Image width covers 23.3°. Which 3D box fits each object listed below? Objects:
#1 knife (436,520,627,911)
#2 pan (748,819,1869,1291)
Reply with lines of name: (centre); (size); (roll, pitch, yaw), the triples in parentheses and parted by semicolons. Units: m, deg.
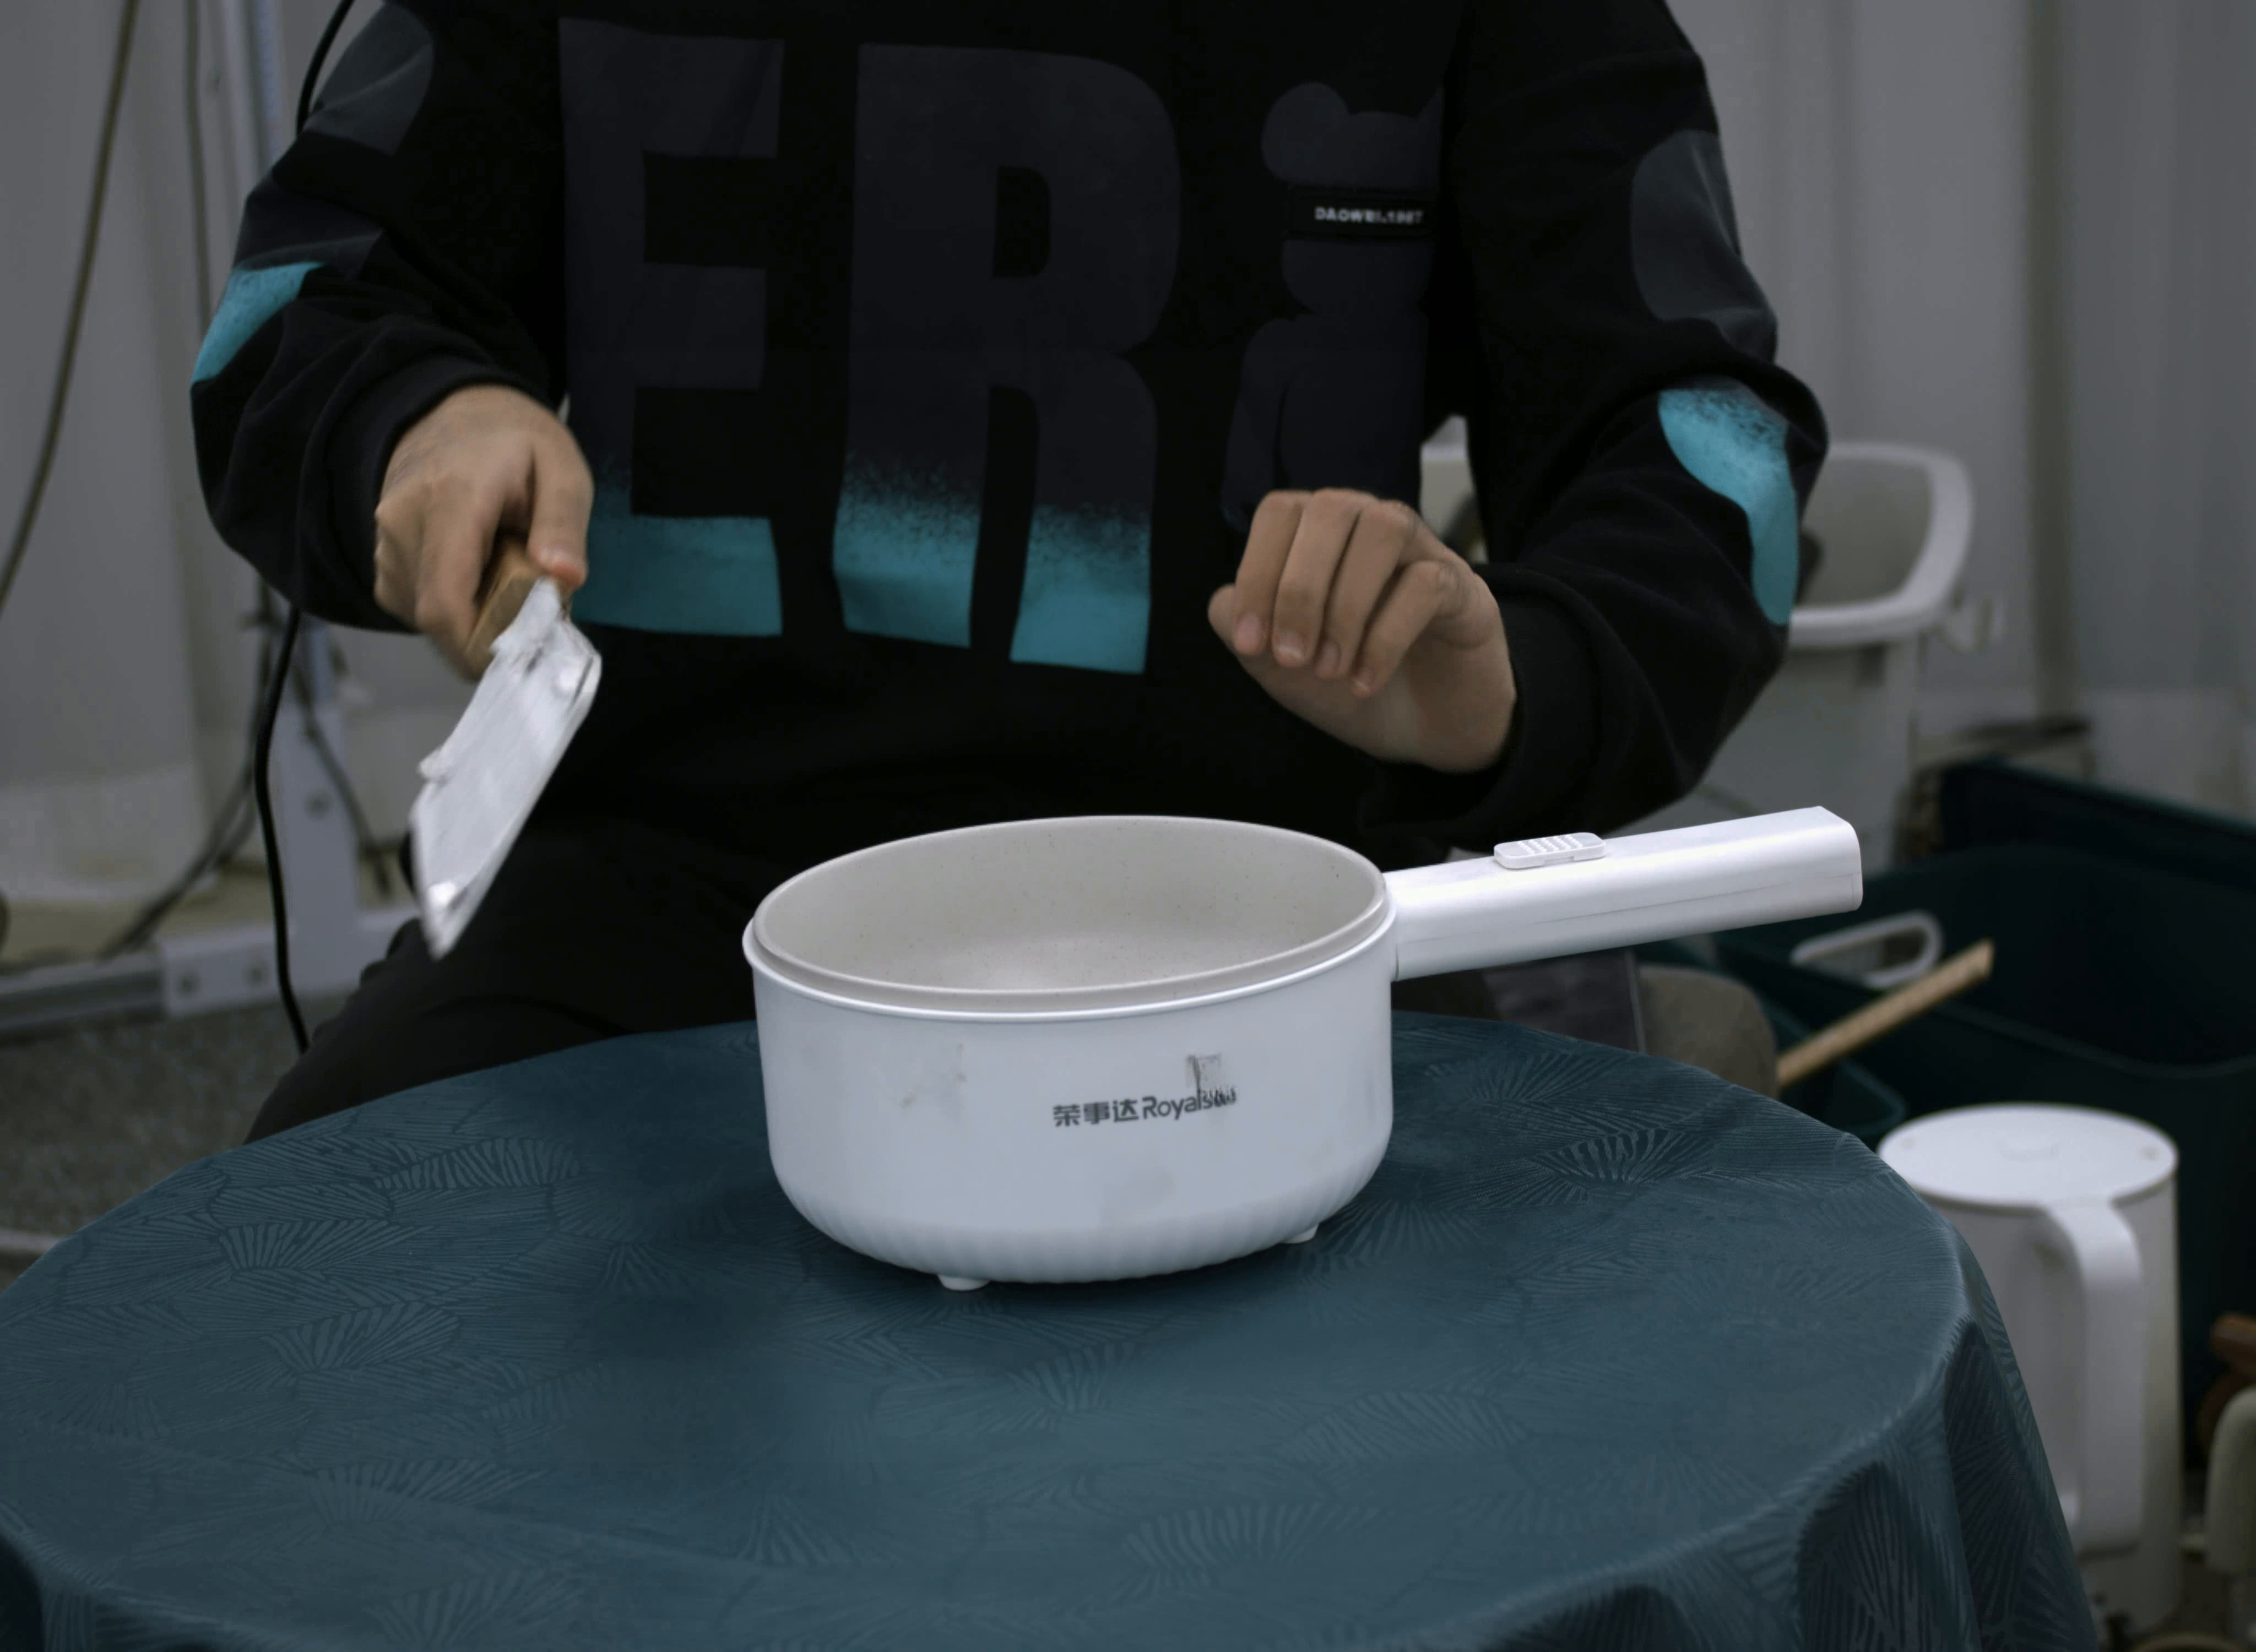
knife: (-0.189, -0.049, 1.698); (0.021, 0.114, 0.318); (26, 10, -14)
pan: (0.059, 0.064, 1.706); (0.353, 0.102, 0.202); (-6, 14, -14)
